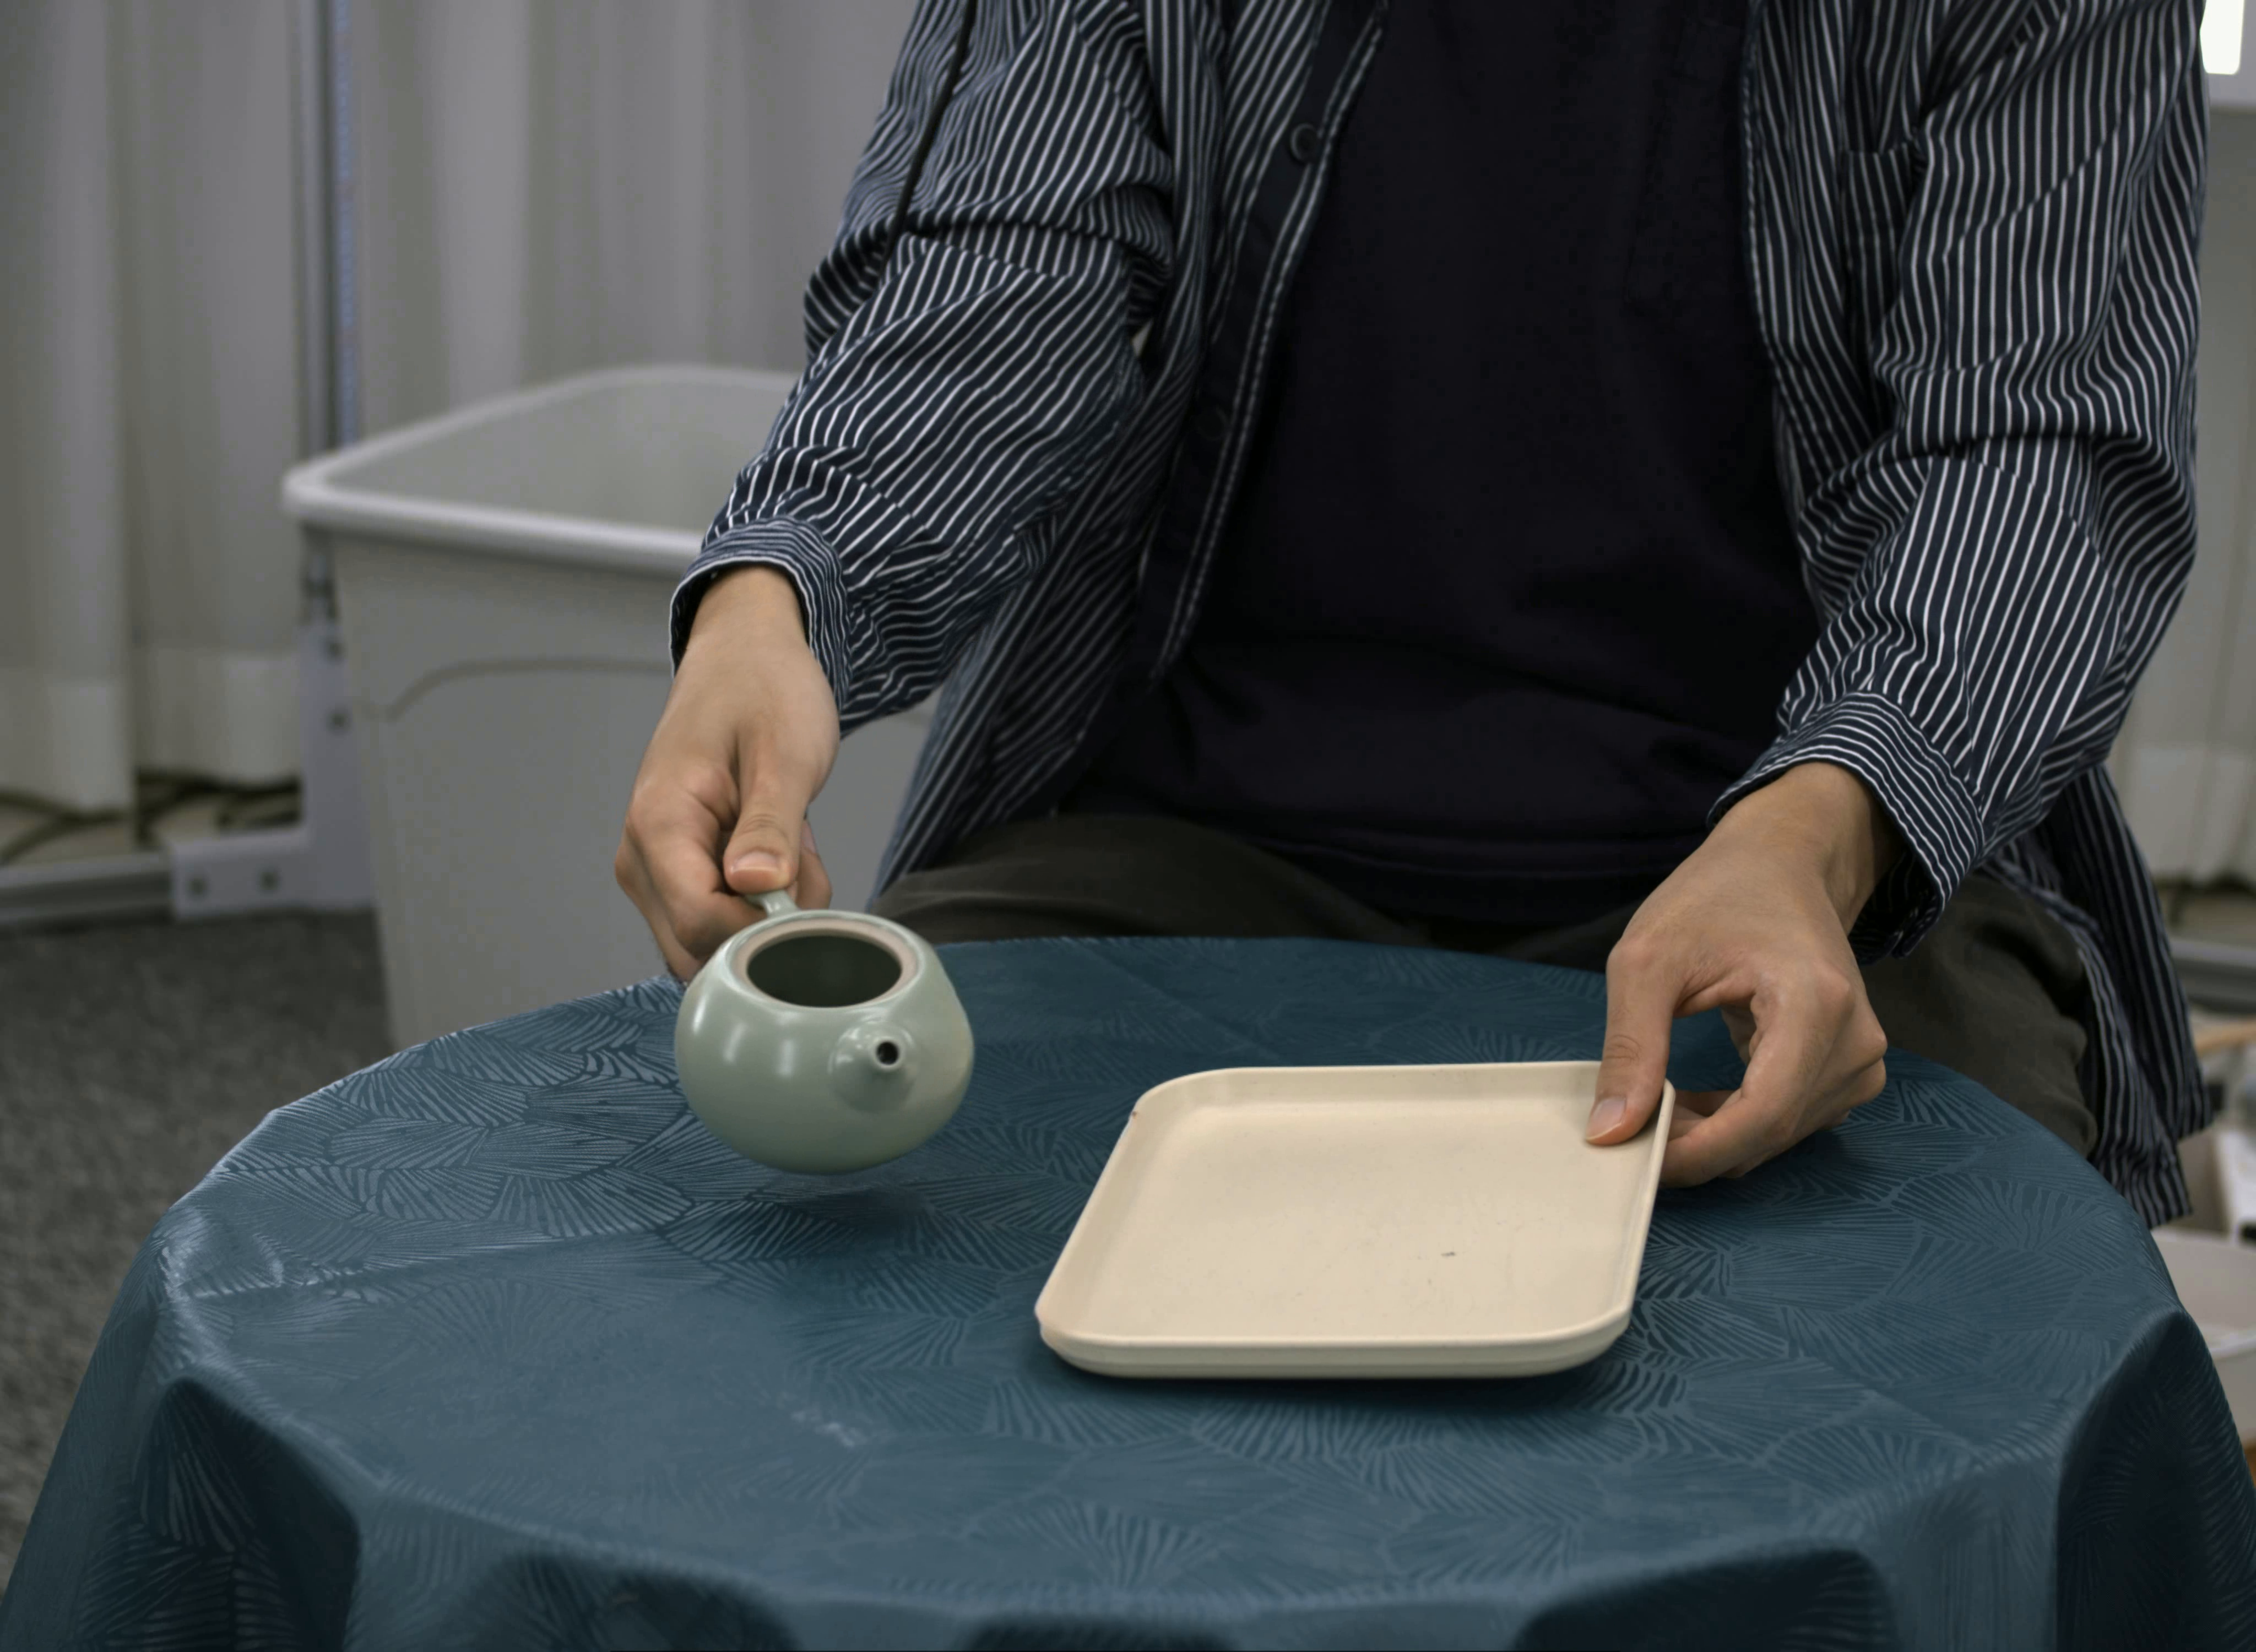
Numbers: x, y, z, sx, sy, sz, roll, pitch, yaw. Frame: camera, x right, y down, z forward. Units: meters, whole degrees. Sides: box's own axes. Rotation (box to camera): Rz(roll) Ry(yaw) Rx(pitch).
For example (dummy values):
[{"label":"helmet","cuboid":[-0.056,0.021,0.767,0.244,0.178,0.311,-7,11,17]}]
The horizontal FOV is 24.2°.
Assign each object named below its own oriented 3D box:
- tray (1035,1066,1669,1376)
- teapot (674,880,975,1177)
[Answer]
[{"label":"tray","cuboid":[0.071,0.116,1.564,0.170,0.017,0.239,0,15,10]},{"label":"teapot","cuboid":[-0.095,0.062,1.602,0.091,0.061,0.127,-11,32,-16]}]
